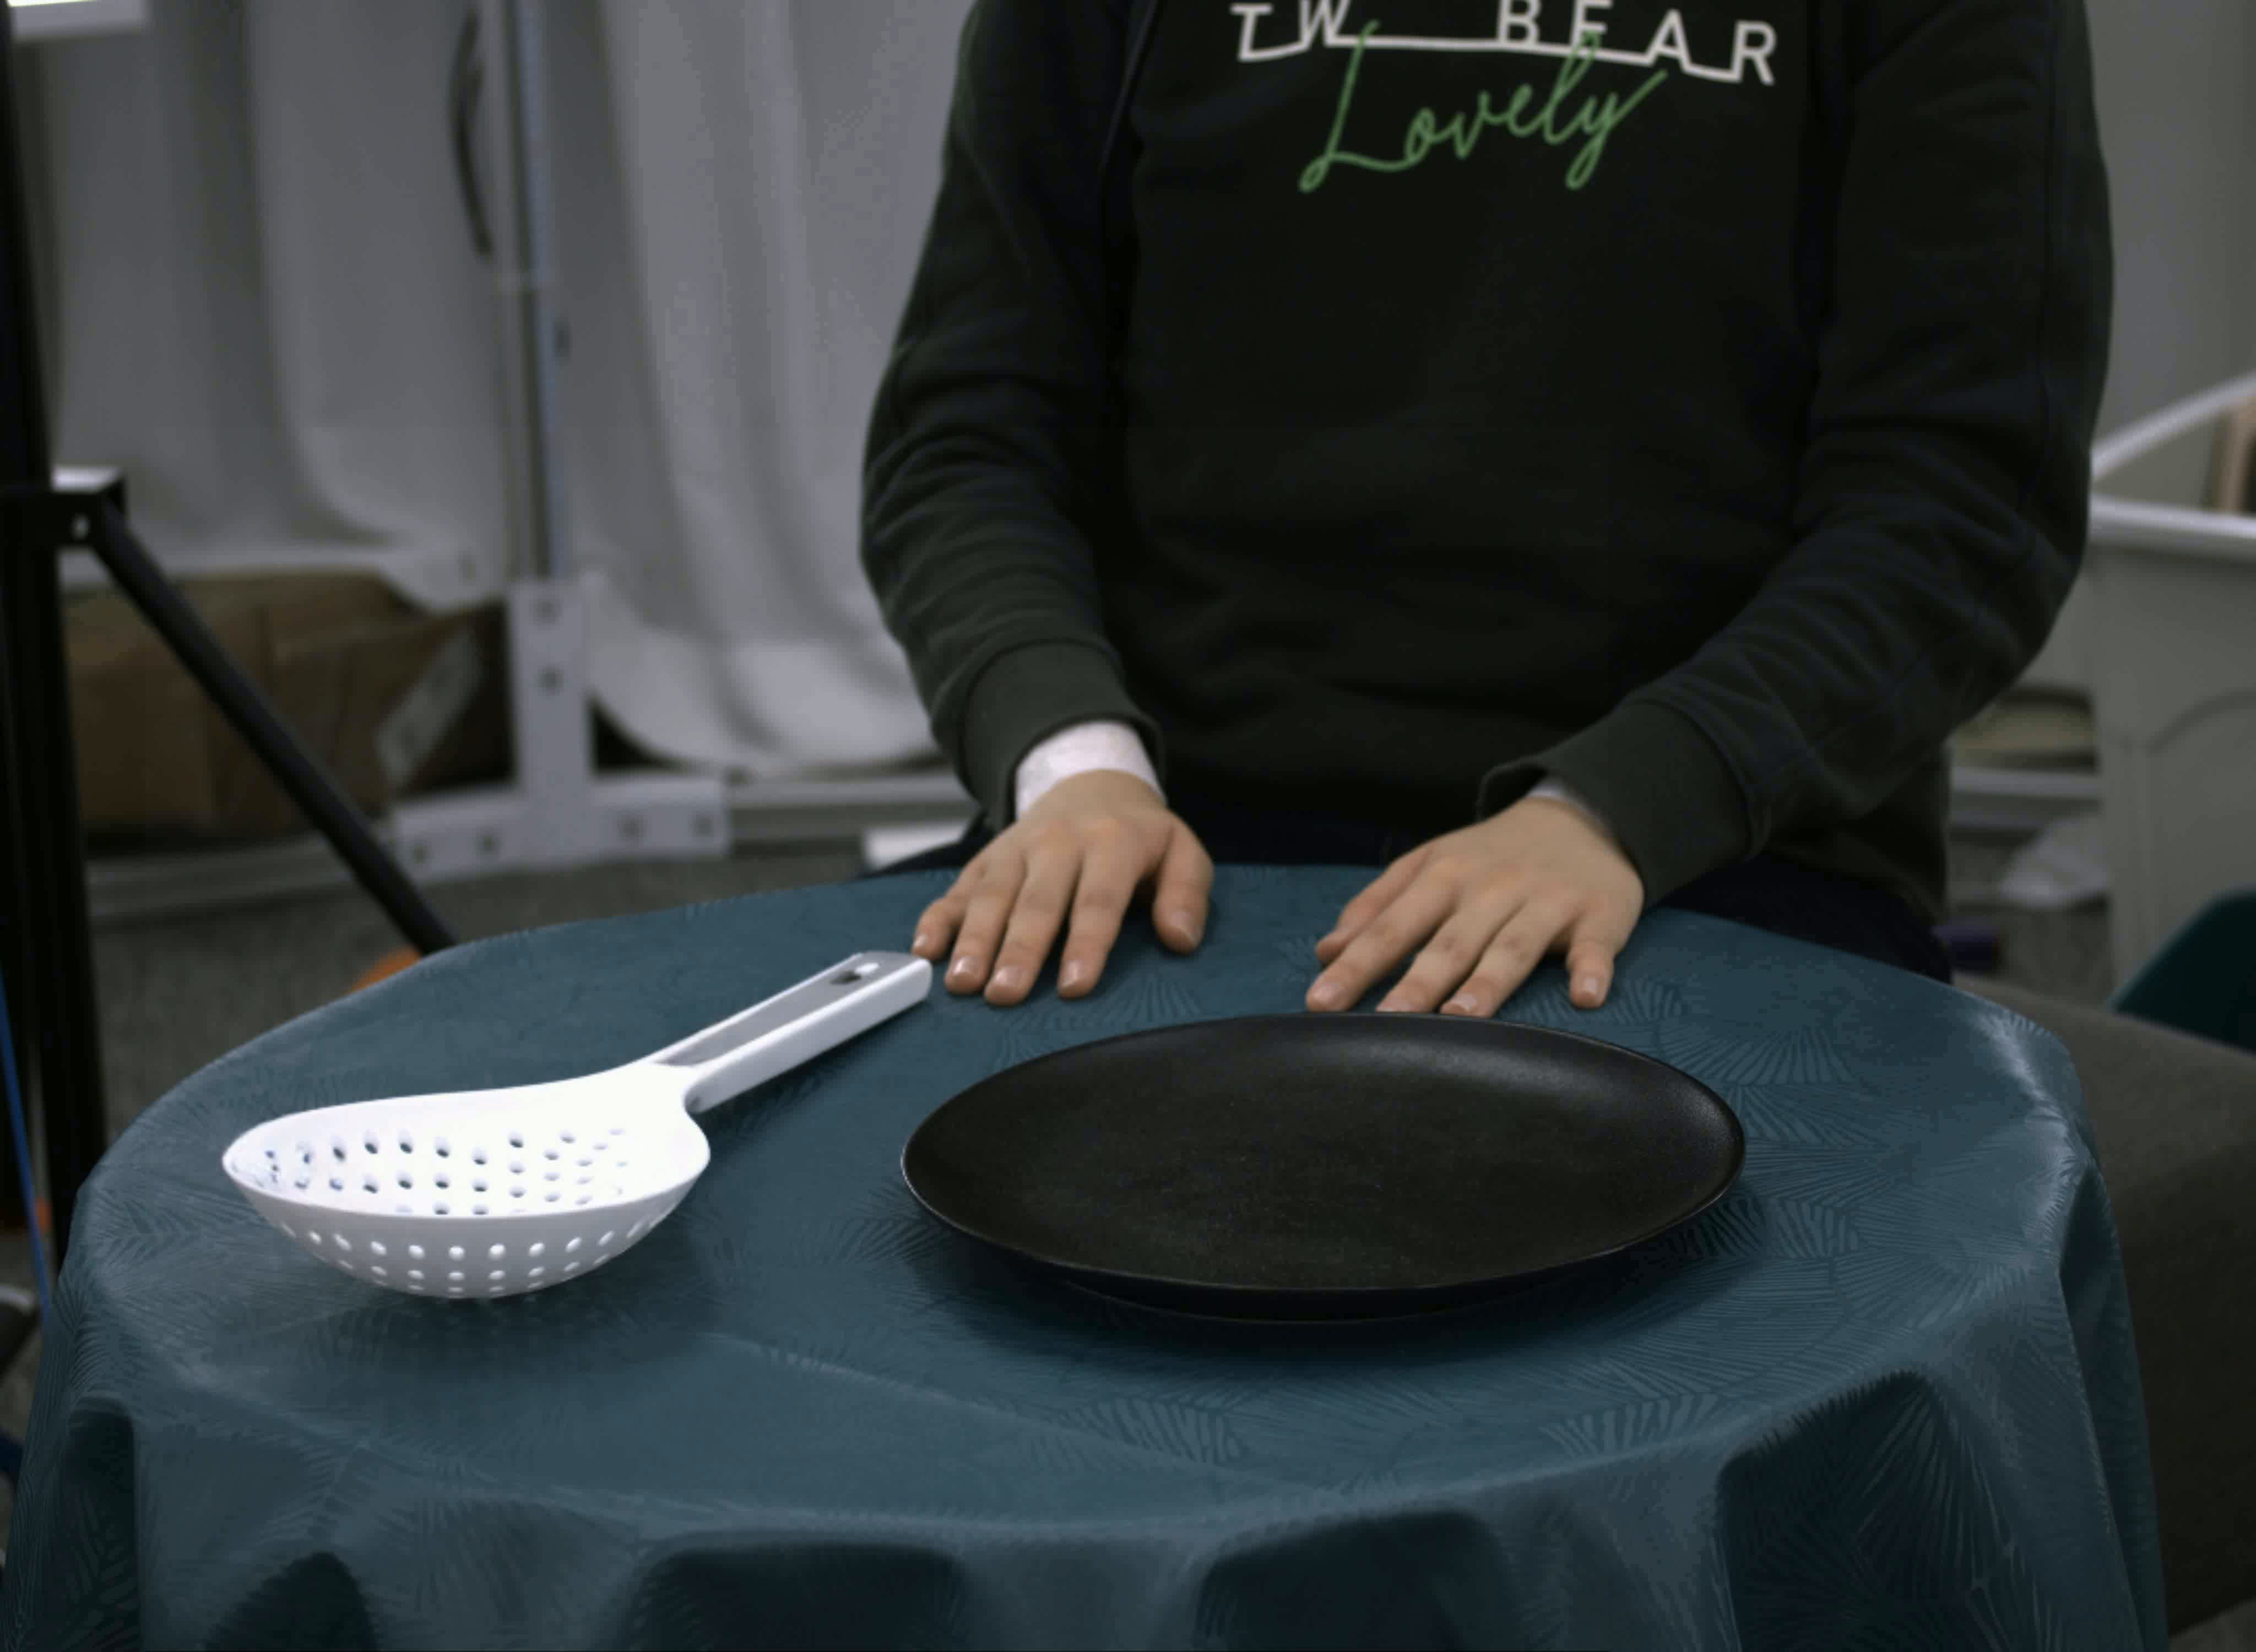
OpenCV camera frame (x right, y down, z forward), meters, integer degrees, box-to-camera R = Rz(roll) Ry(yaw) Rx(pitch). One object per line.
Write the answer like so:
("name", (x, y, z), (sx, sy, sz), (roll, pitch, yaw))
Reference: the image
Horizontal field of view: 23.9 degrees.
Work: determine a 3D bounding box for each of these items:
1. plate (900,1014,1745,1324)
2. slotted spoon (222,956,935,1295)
("plate", (0.056, 0.101, 1.529), (0.243, 0.023, 0.245), (-3, 16, -1))
("slotted spoon", (-0.144, 0.080, 1.597), (0.138, 0.046, 0.344), (7, 17, 23))
